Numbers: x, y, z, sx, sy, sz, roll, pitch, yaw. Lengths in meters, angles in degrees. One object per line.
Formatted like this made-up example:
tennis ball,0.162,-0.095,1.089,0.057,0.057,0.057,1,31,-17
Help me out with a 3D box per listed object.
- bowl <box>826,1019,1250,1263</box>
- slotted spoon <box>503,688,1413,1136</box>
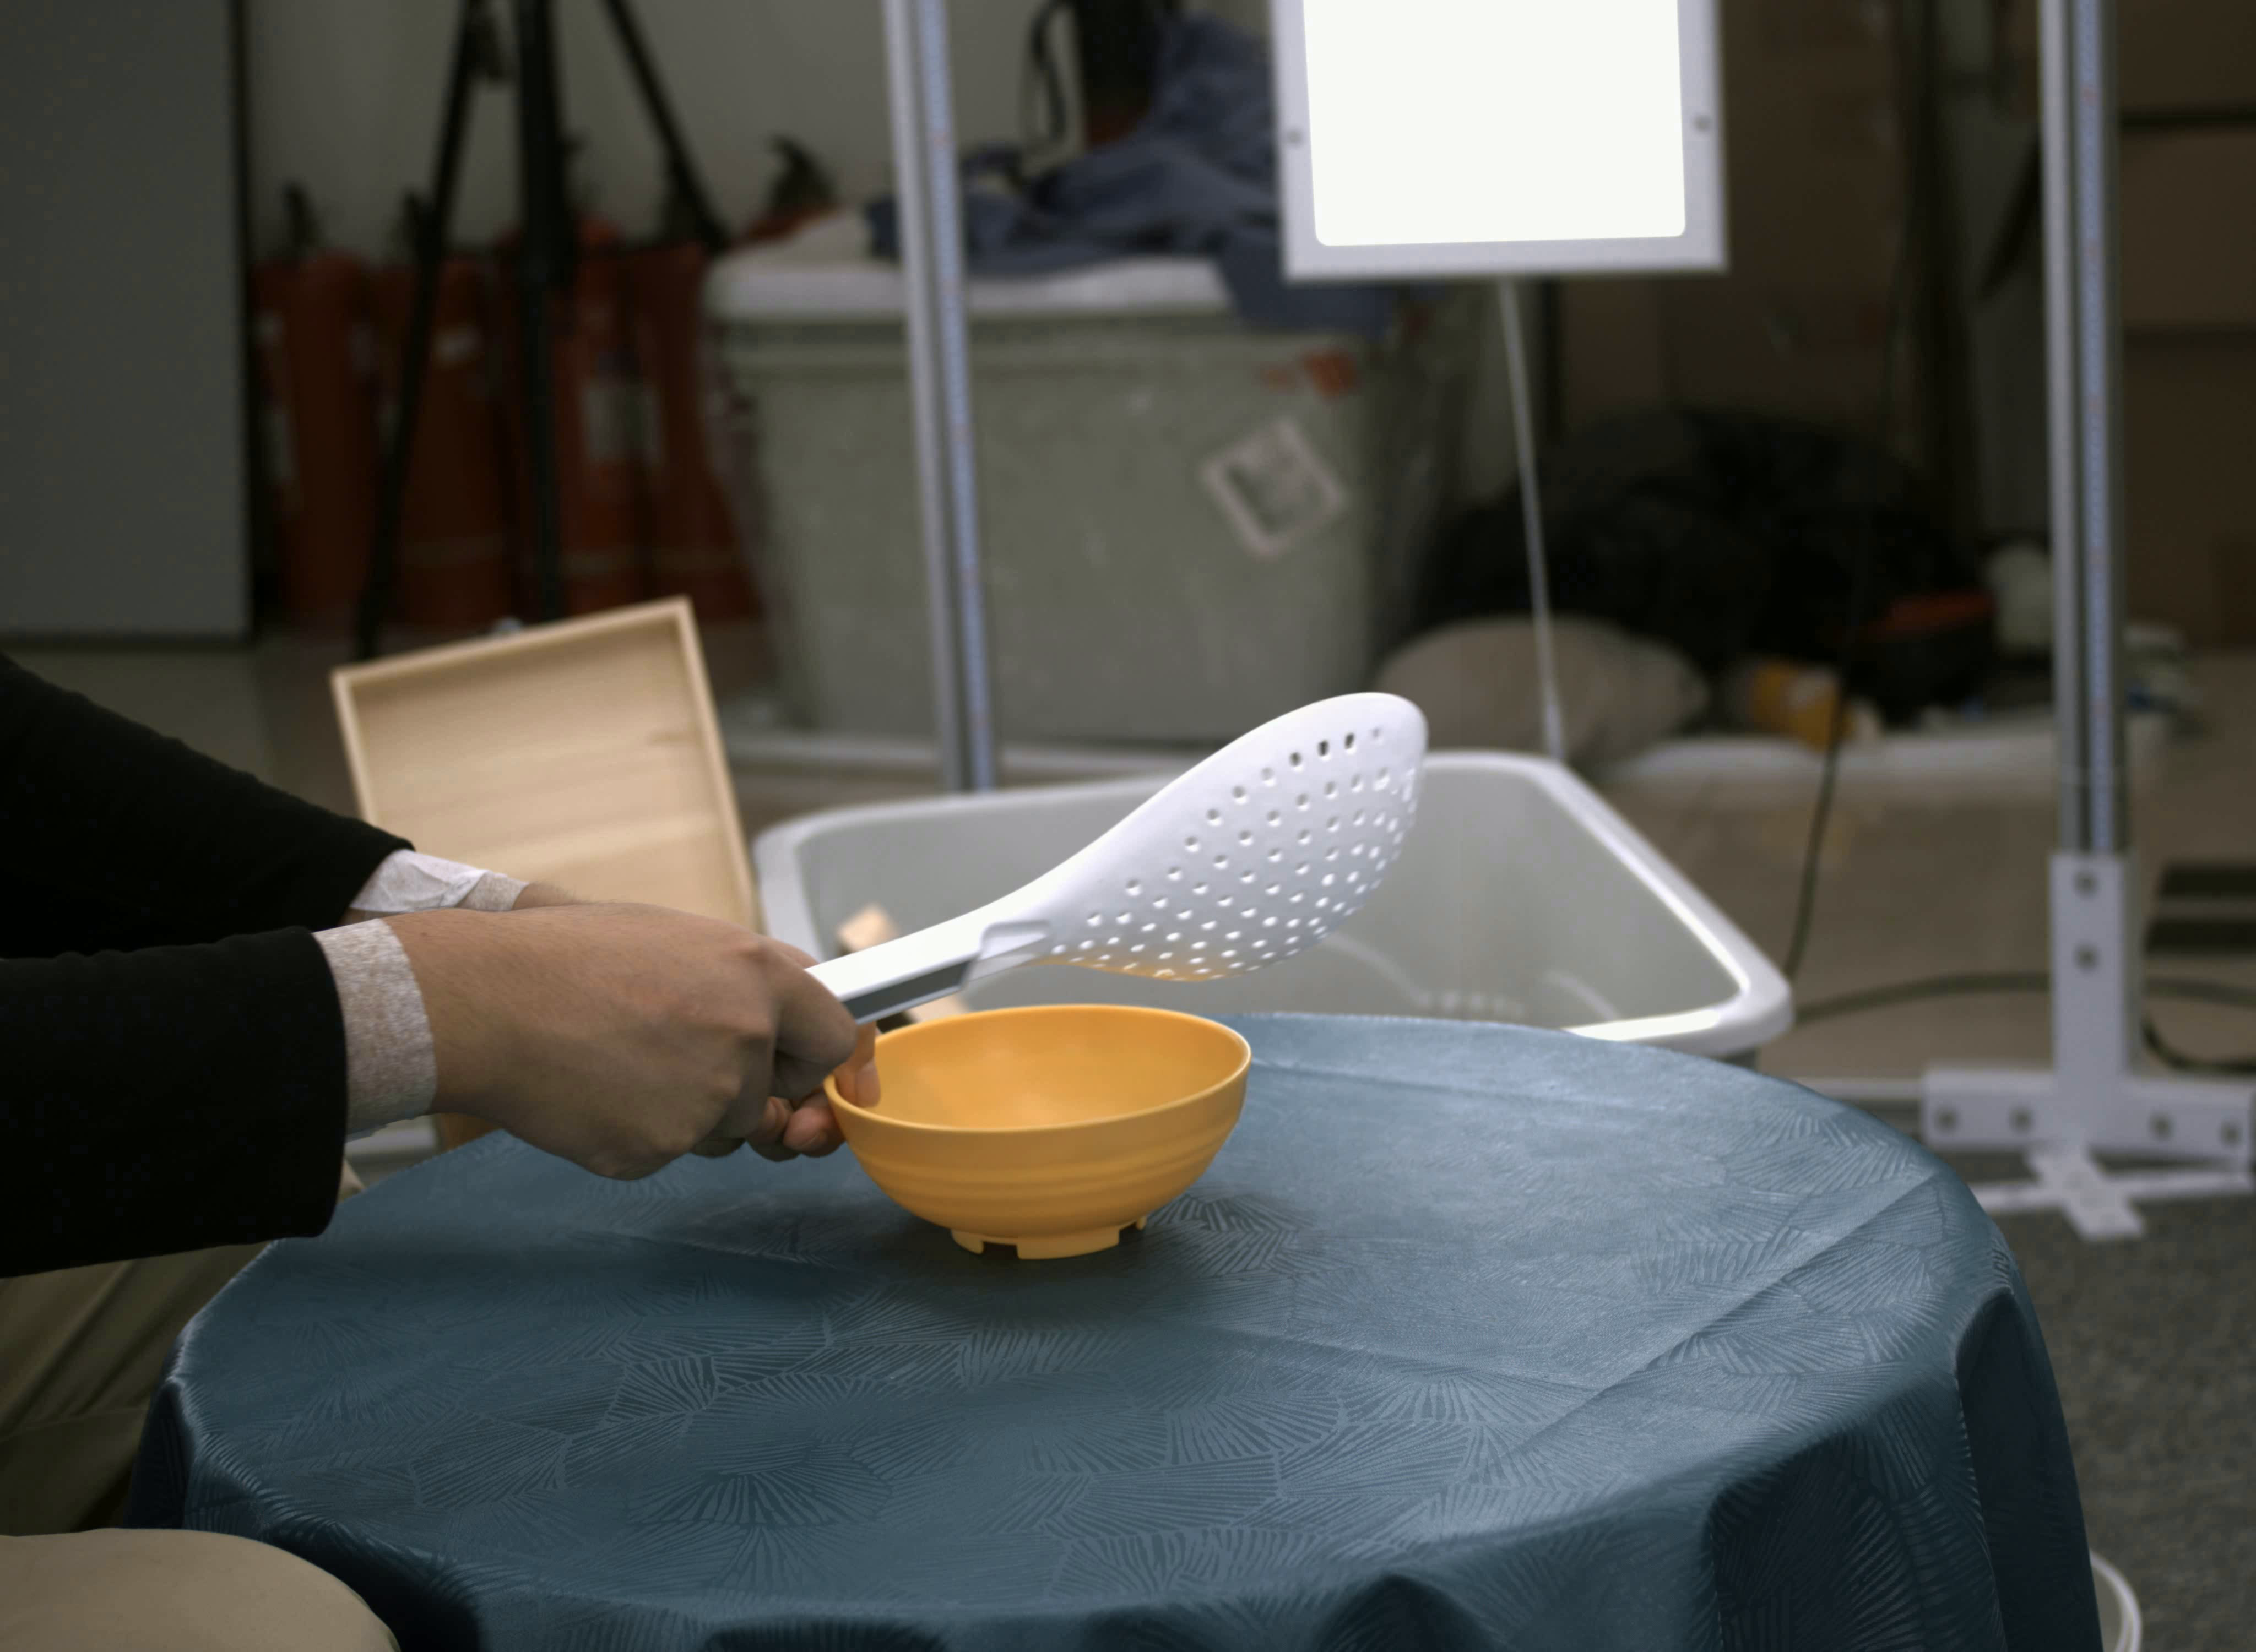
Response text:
bowl,-0.029,0.110,1.857,0.145,0.060,0.145,-4,12,-1
slotted spoon,-0.046,0.036,1.765,0.342,0.138,0.046,-14,58,-27
